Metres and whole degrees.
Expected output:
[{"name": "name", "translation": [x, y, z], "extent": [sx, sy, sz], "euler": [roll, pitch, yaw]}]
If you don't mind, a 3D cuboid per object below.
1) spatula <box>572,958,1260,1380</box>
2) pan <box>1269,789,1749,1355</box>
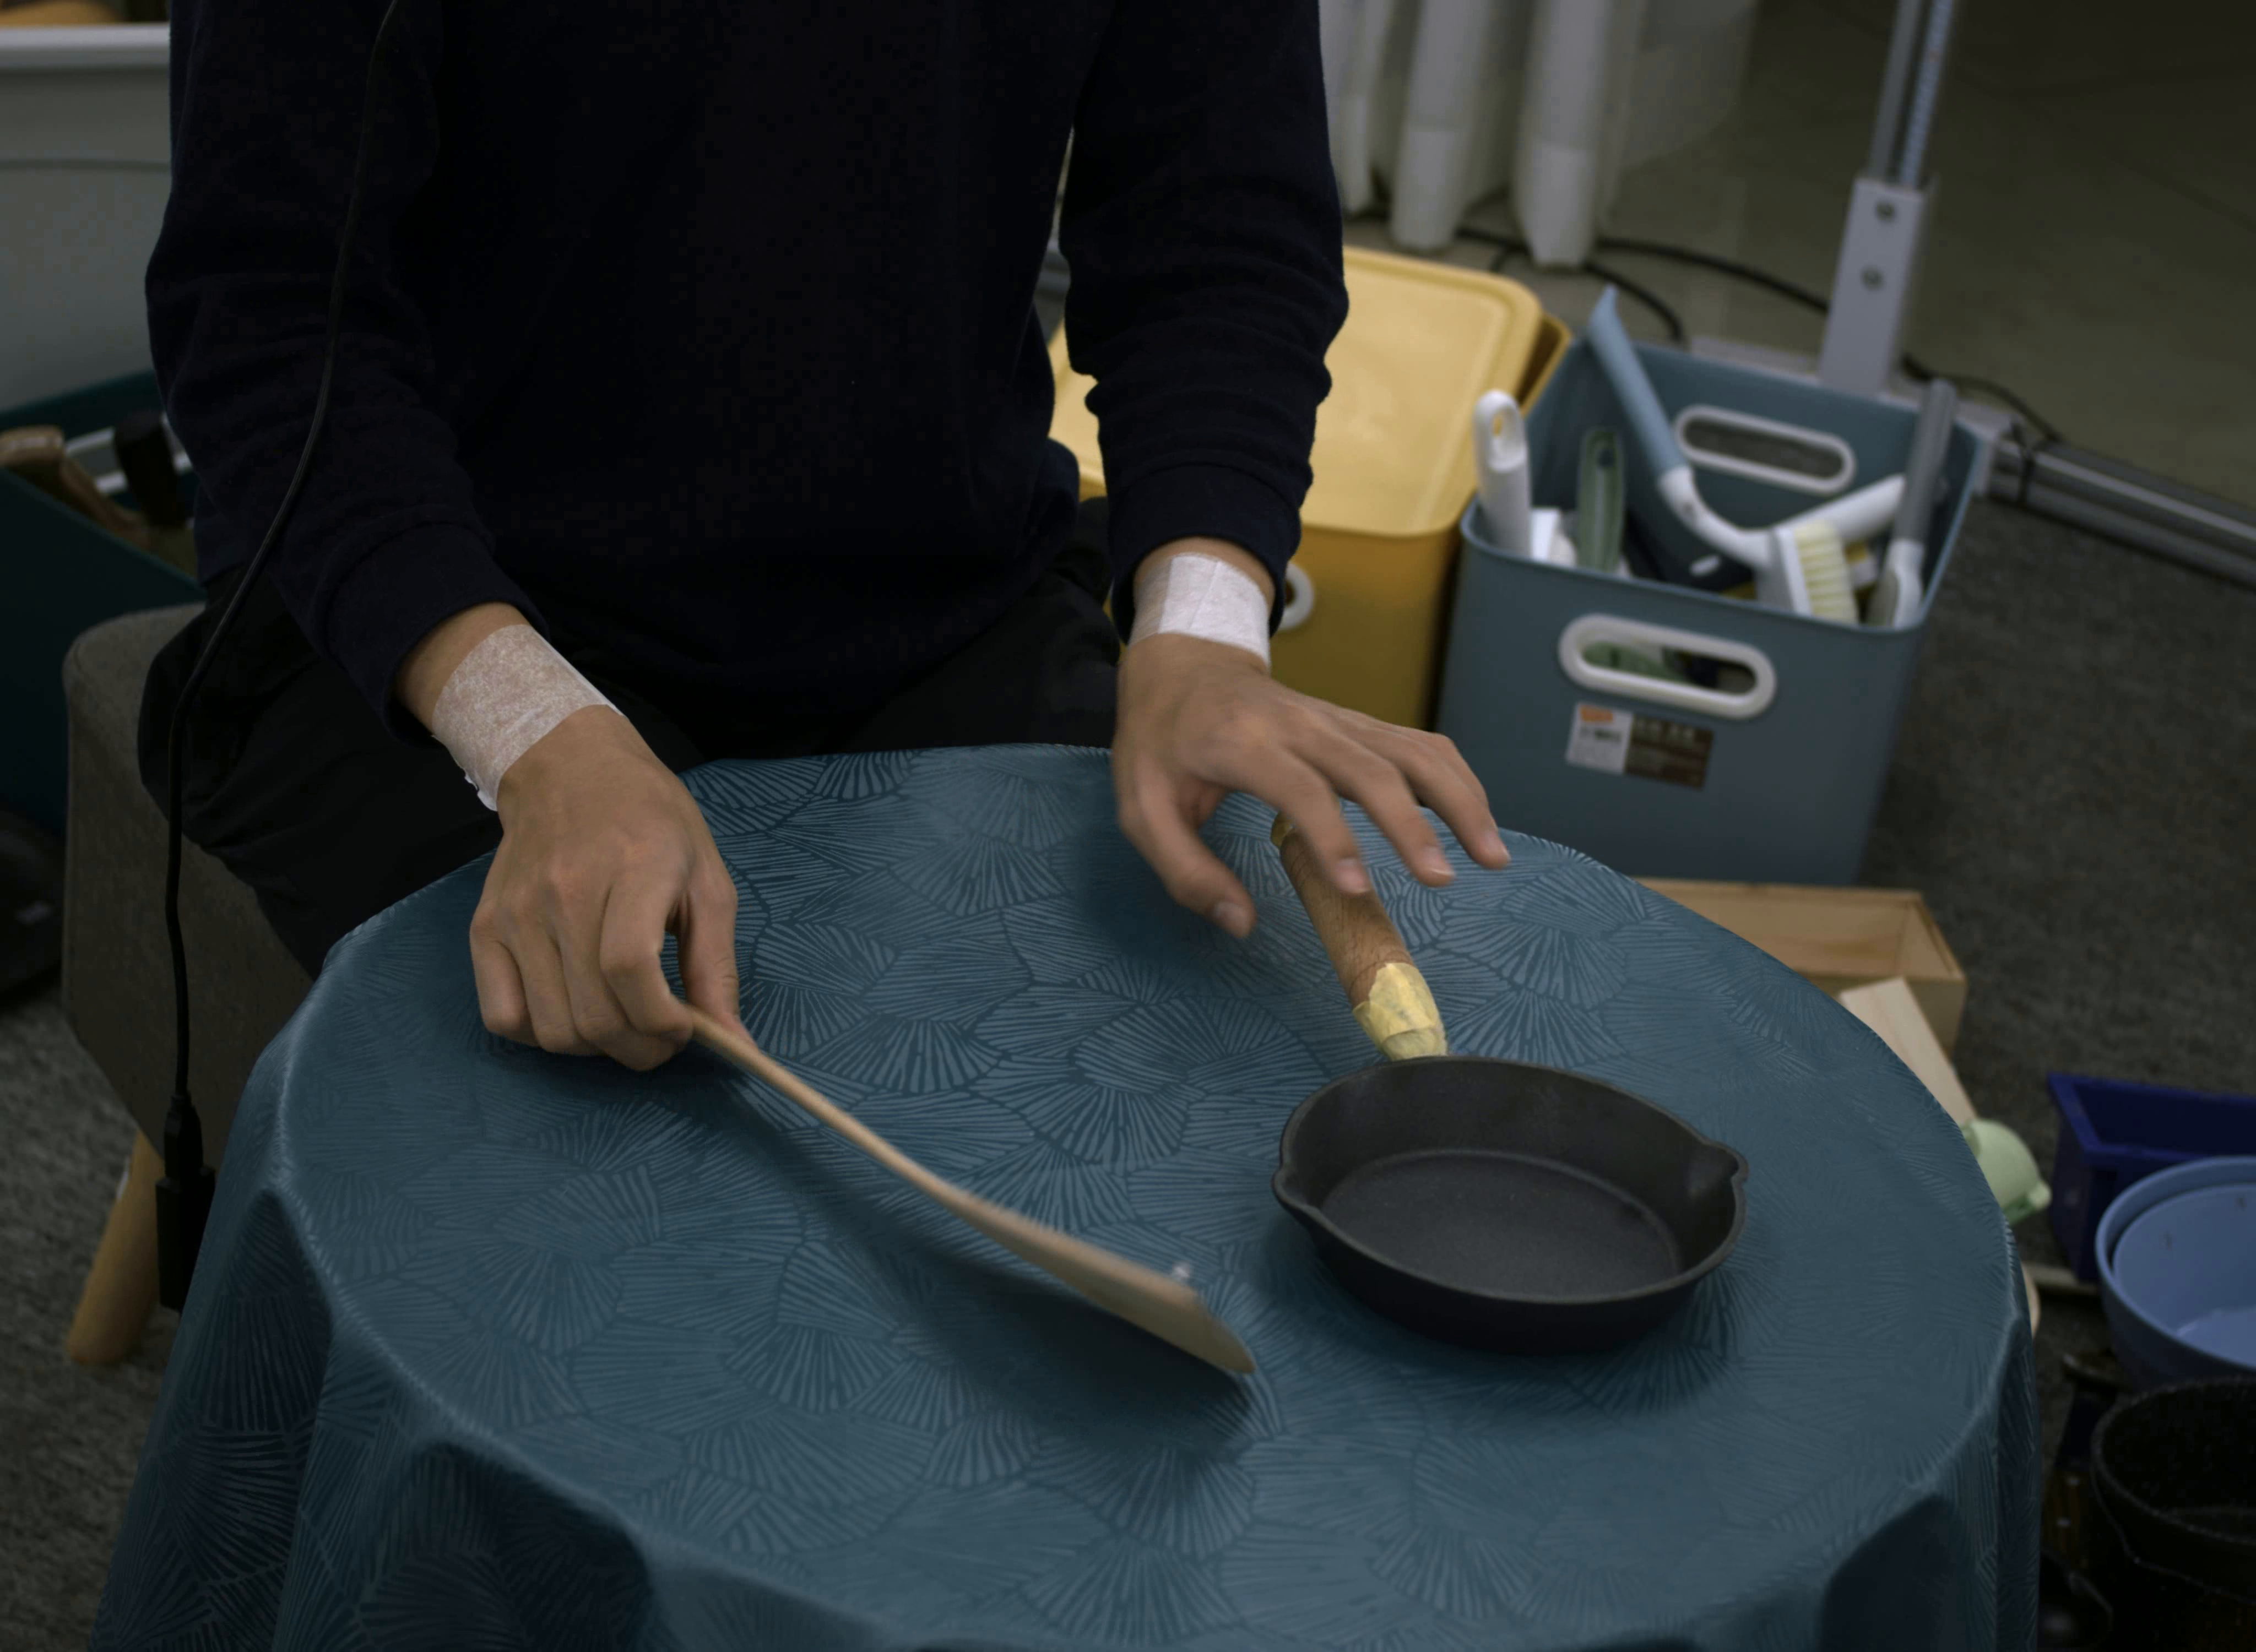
[{"name": "spatula", "translation": [-0.079, 0.110, 1.767], "extent": [0.330, 0.016, 0.079], "euler": [30, -3, 40]}, {"name": "pan", "translation": [0.106, 0.083, 1.851], "extent": [0.168, 0.049, 0.327], "euler": [-2, 29, -15]}]
